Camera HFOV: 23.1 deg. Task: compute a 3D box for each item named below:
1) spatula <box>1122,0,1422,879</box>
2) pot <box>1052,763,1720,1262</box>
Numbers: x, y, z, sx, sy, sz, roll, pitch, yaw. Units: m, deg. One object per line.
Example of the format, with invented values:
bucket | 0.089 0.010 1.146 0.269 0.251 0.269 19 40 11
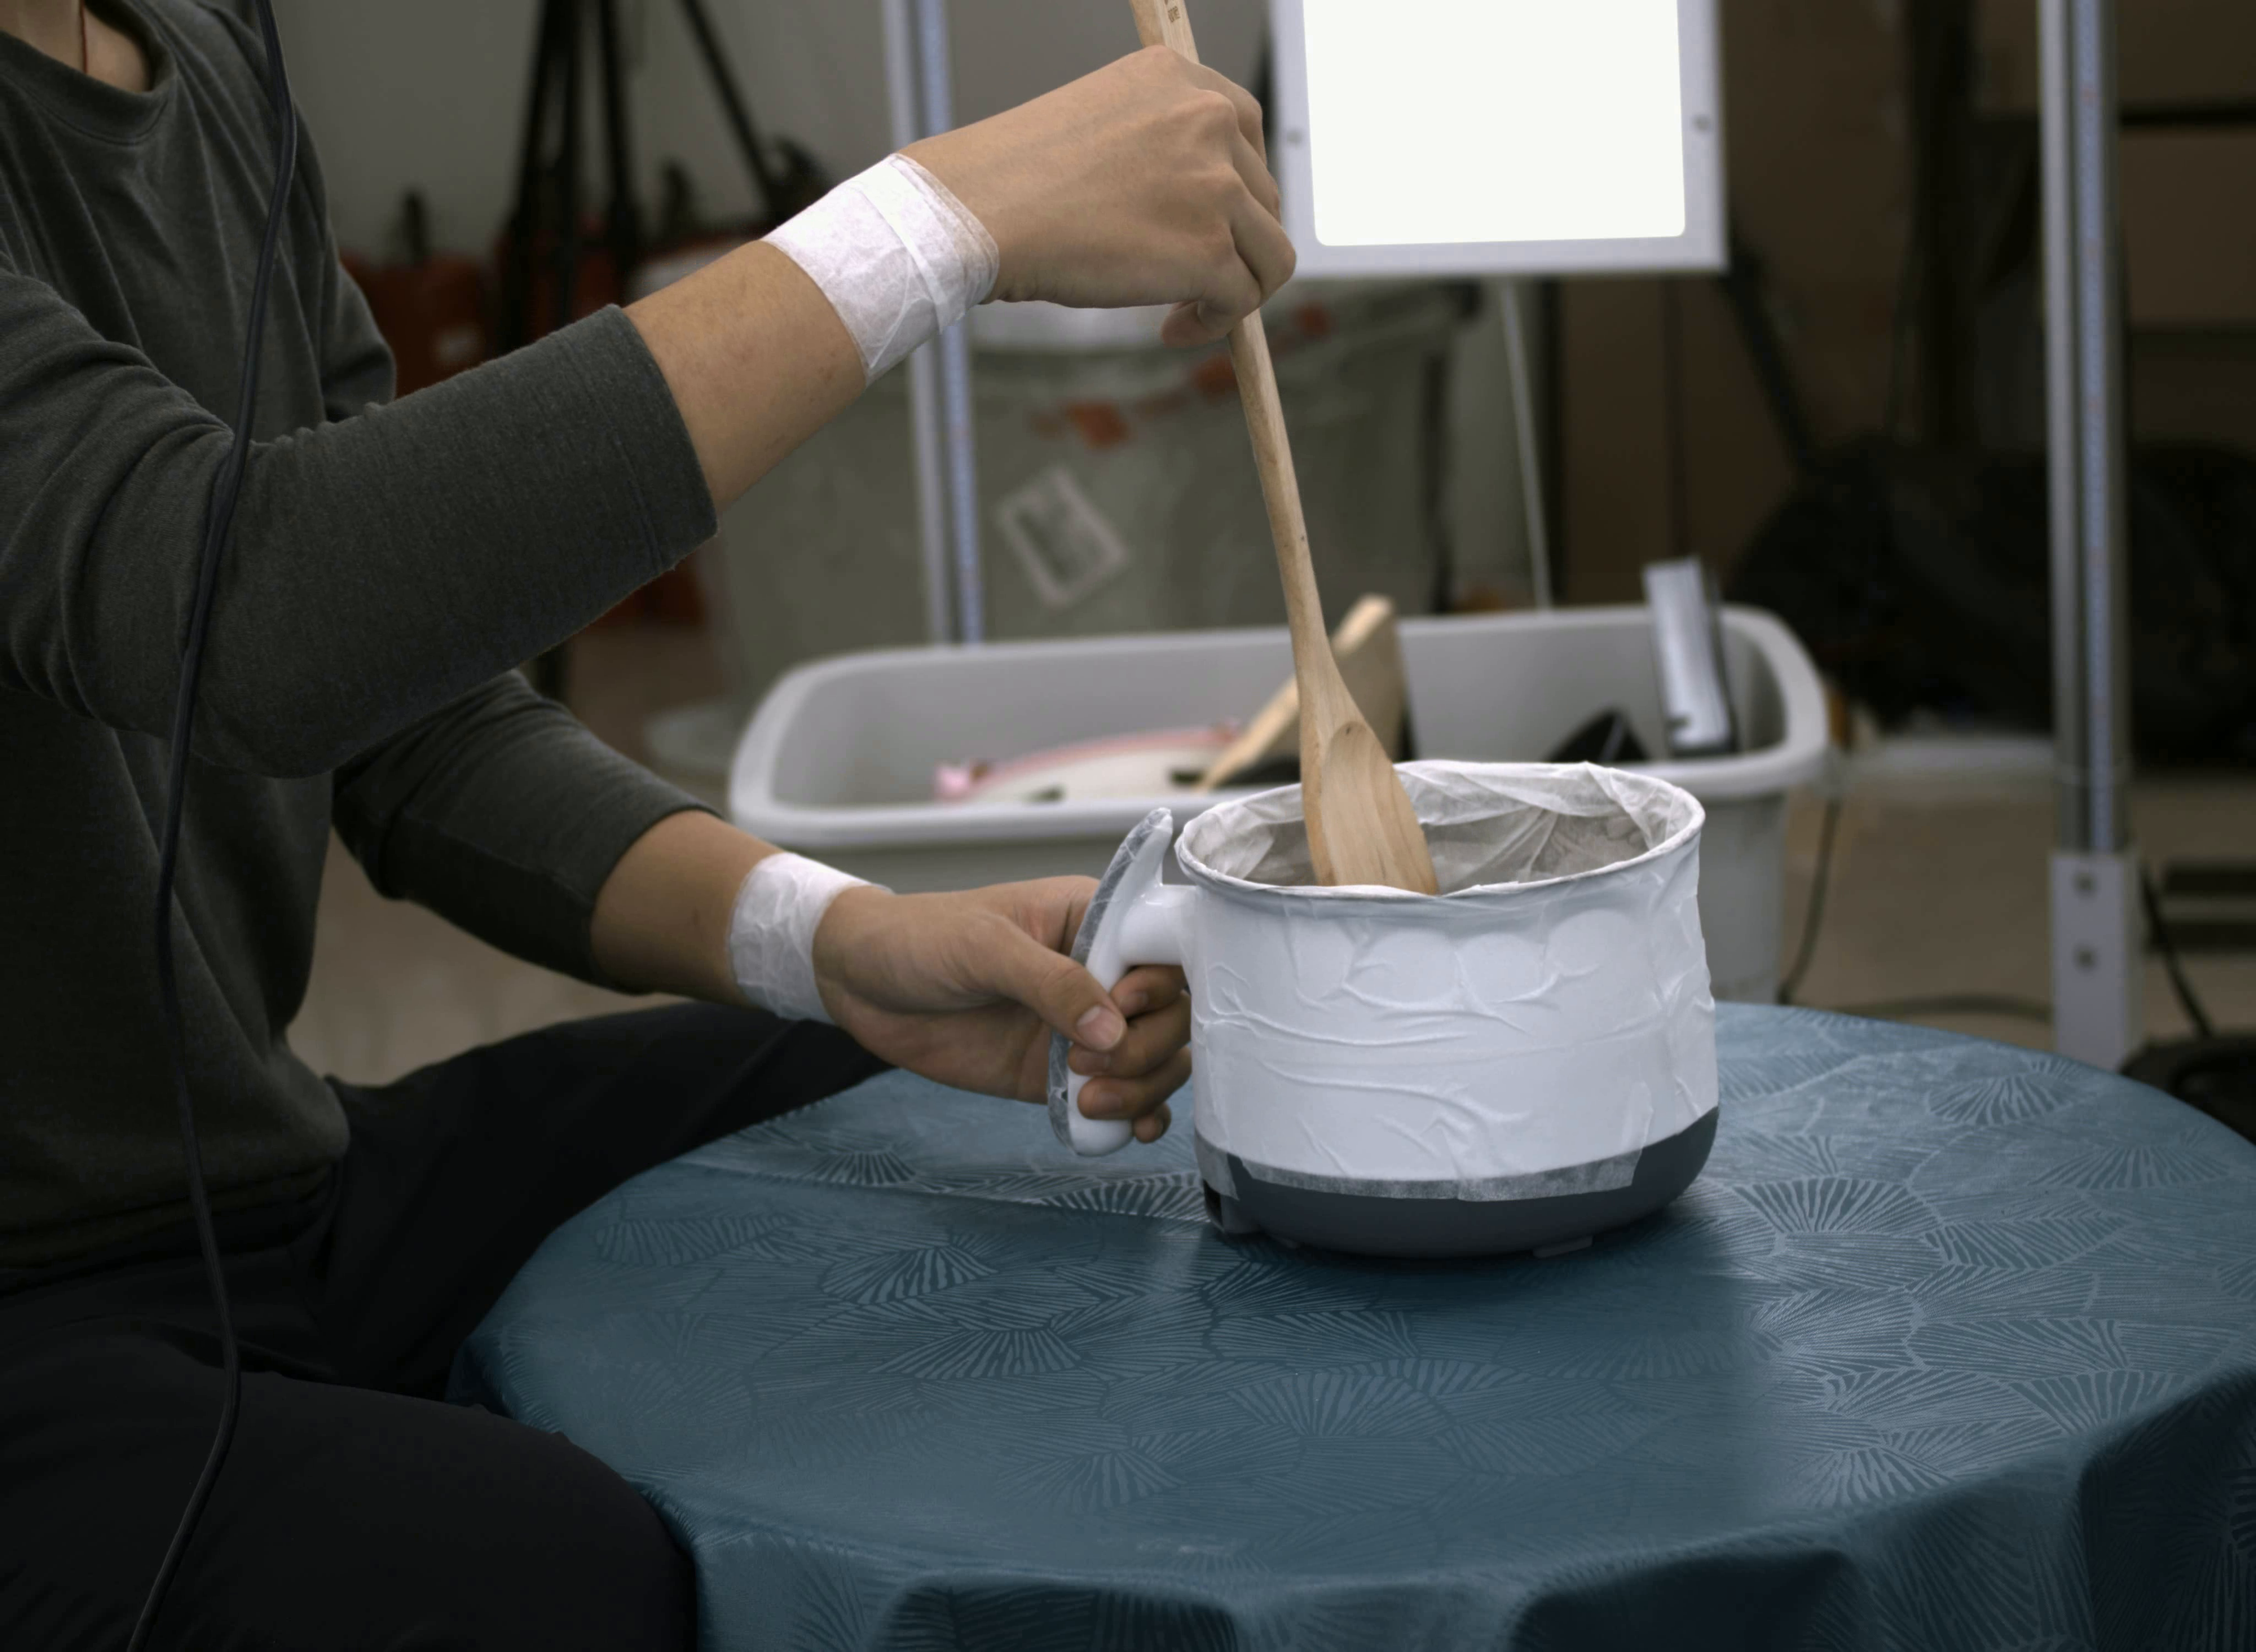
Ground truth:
spatula | 0.043 -0.124 1.804 0.019 0.391 0.094 -8 17 20
pot | 0.083 0.062 1.854 0.237 0.137 0.175 0 15 21
